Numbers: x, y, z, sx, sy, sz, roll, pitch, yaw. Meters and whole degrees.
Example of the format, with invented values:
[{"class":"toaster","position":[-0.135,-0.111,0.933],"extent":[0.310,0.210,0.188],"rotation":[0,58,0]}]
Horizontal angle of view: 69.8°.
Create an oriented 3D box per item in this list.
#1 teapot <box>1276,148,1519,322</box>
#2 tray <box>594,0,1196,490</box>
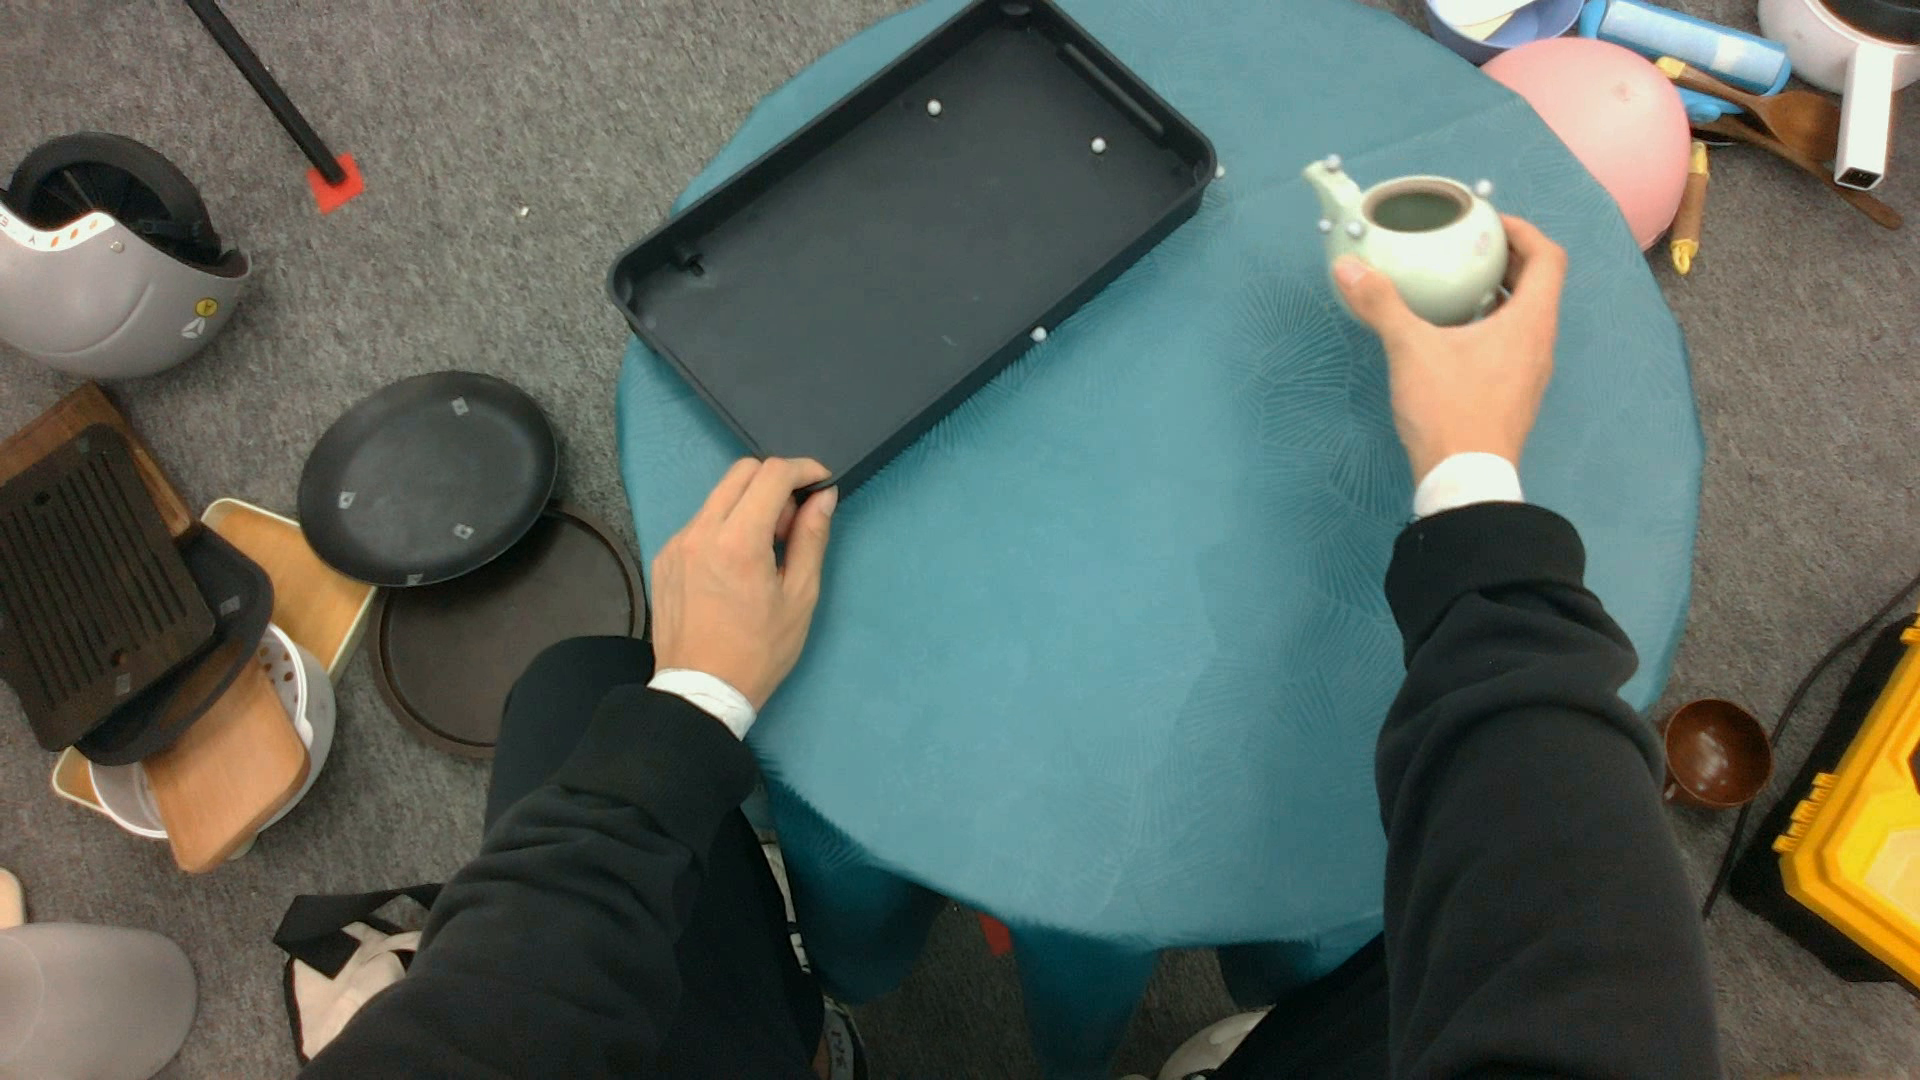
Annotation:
[{"class":"teapot","position":[0.223,-0.155,0.716],"extent":[0.088,0.074,0.144],"rotation":[-34,43,-21]},{"class":"tray","position":[-0.032,-0.186,0.782],"extent":[0.319,0.037,0.184],"rotation":[-42,75,-15]}]
